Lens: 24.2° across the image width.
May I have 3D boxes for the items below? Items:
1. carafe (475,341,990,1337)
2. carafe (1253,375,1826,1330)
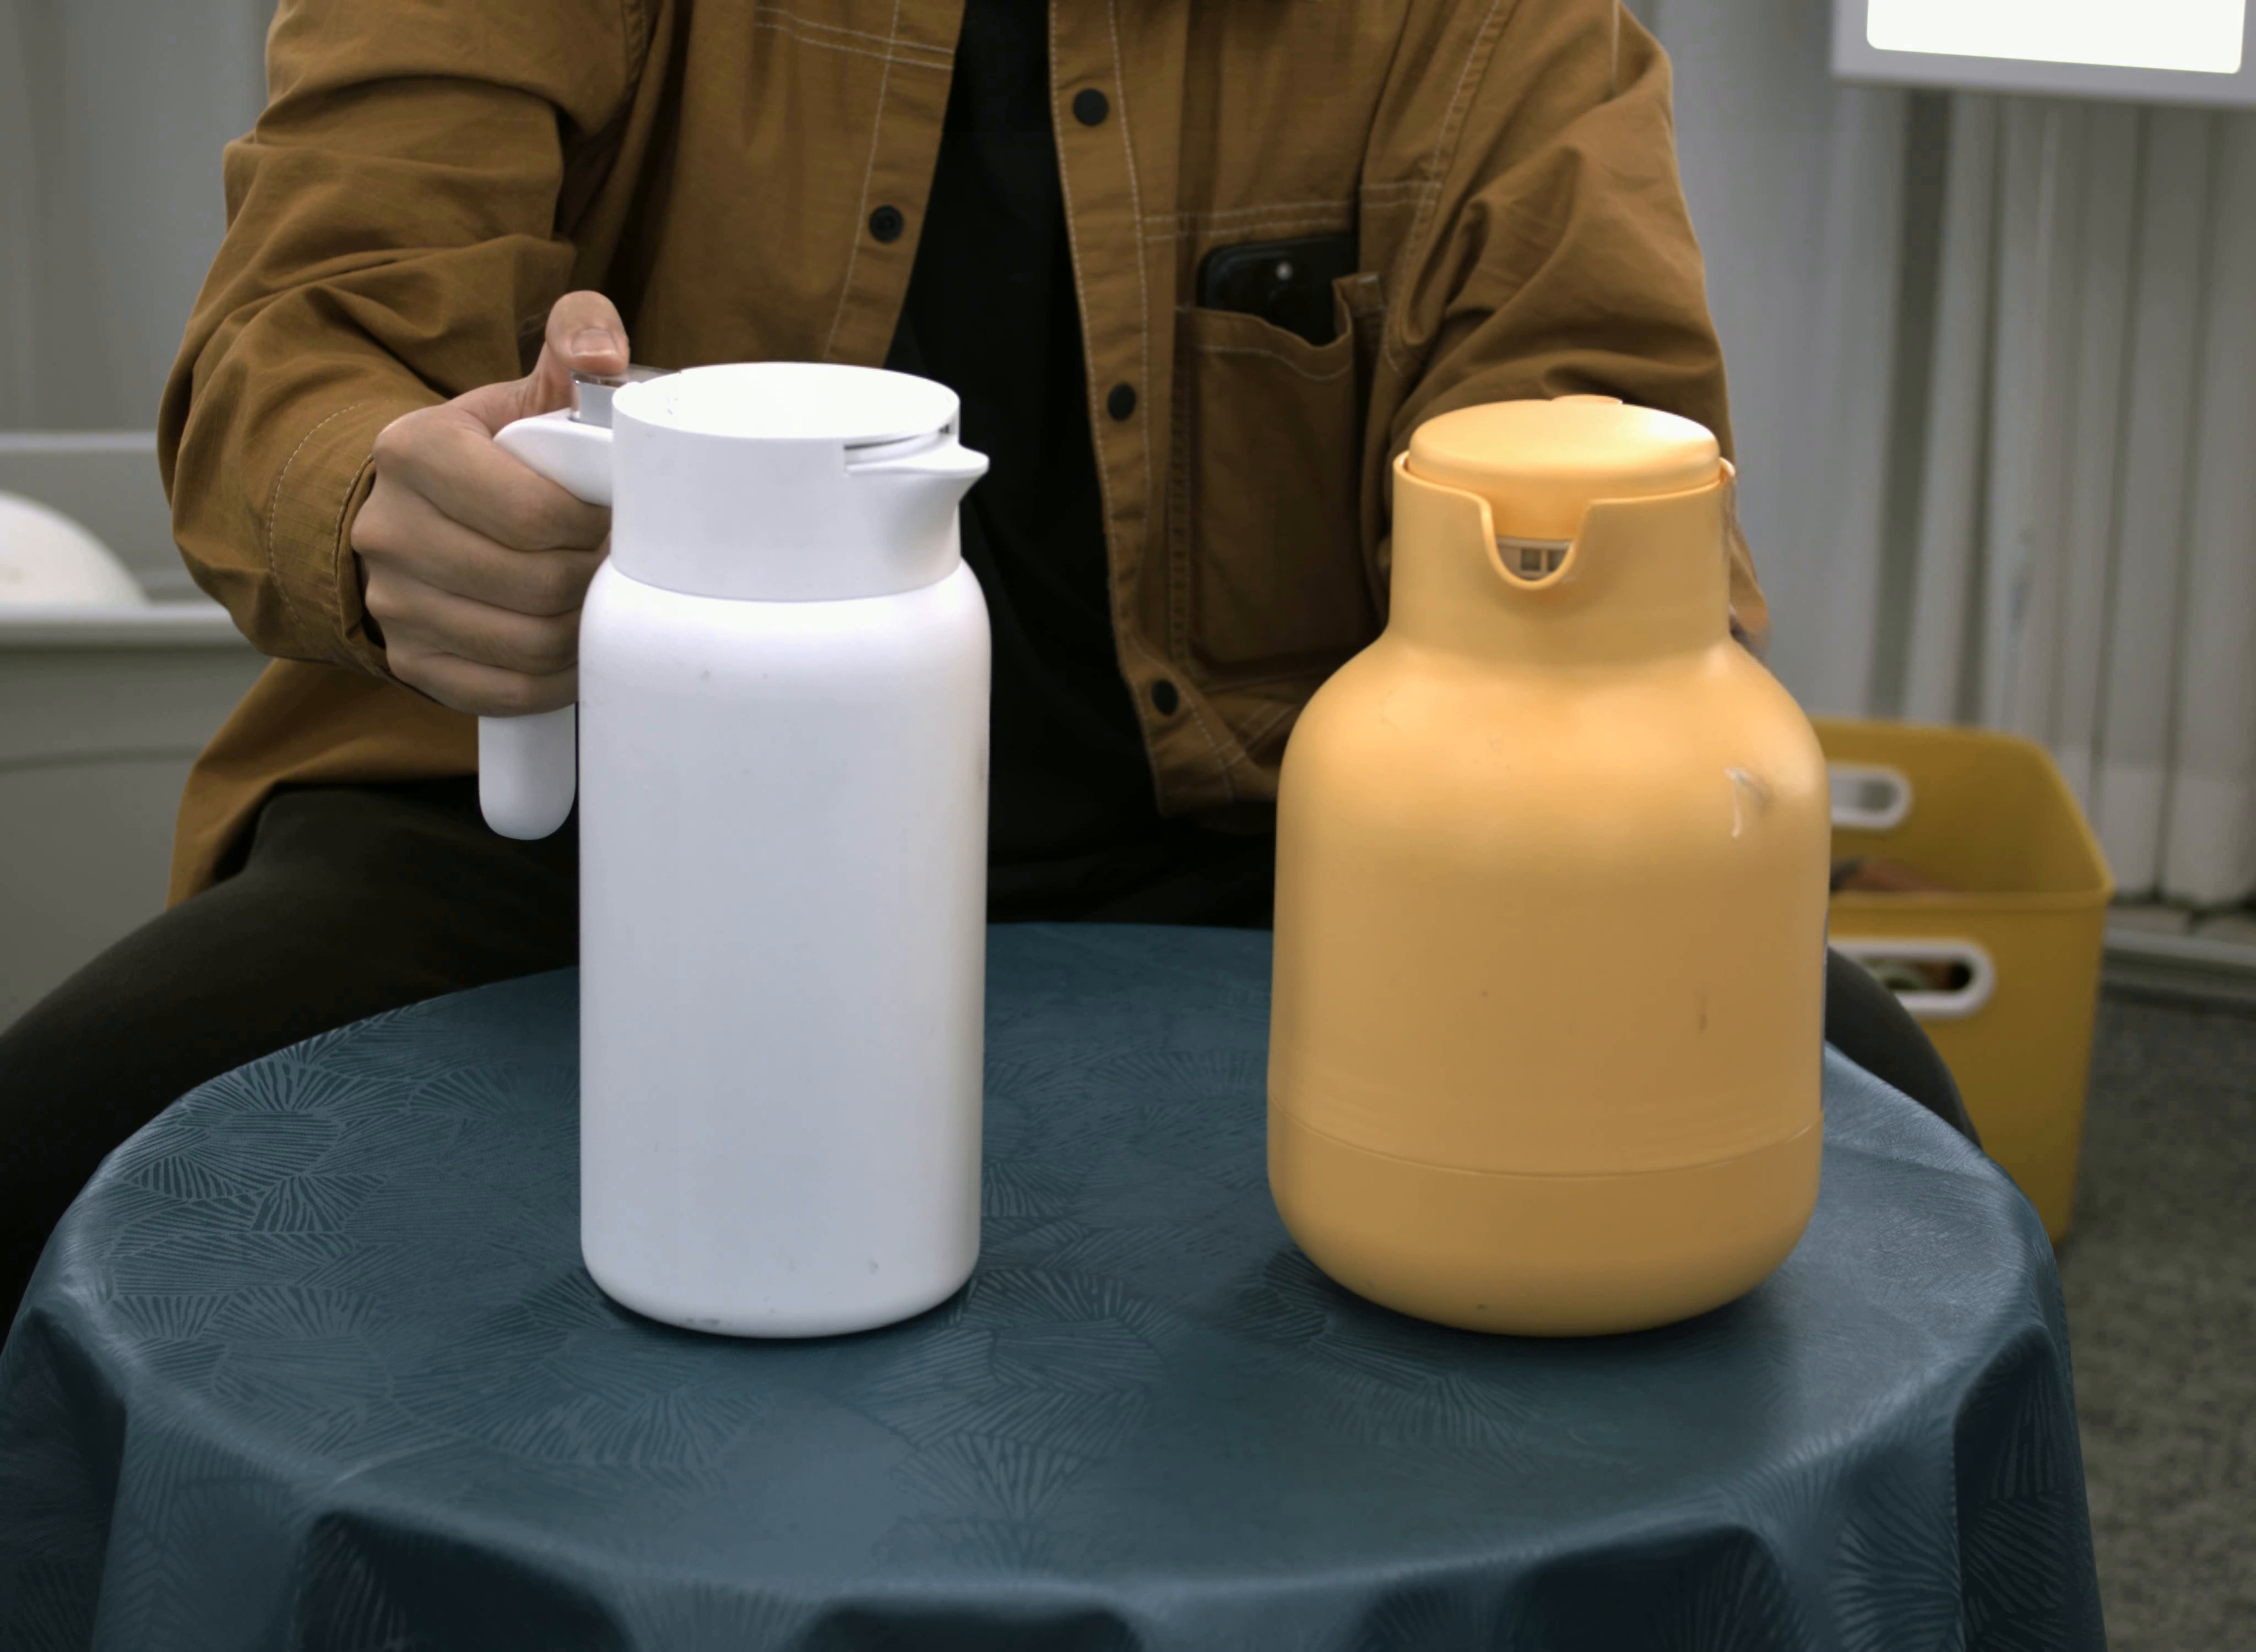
[{"bbox_3d":[-0.114,0.001,1.511,0.170,0.271,0.124,12,22,31],"label":"carafe"},{"bbox_3d":[0.126,-0.001,1.538,0.162,0.262,0.202,7,19,12],"label":"carafe"}]
